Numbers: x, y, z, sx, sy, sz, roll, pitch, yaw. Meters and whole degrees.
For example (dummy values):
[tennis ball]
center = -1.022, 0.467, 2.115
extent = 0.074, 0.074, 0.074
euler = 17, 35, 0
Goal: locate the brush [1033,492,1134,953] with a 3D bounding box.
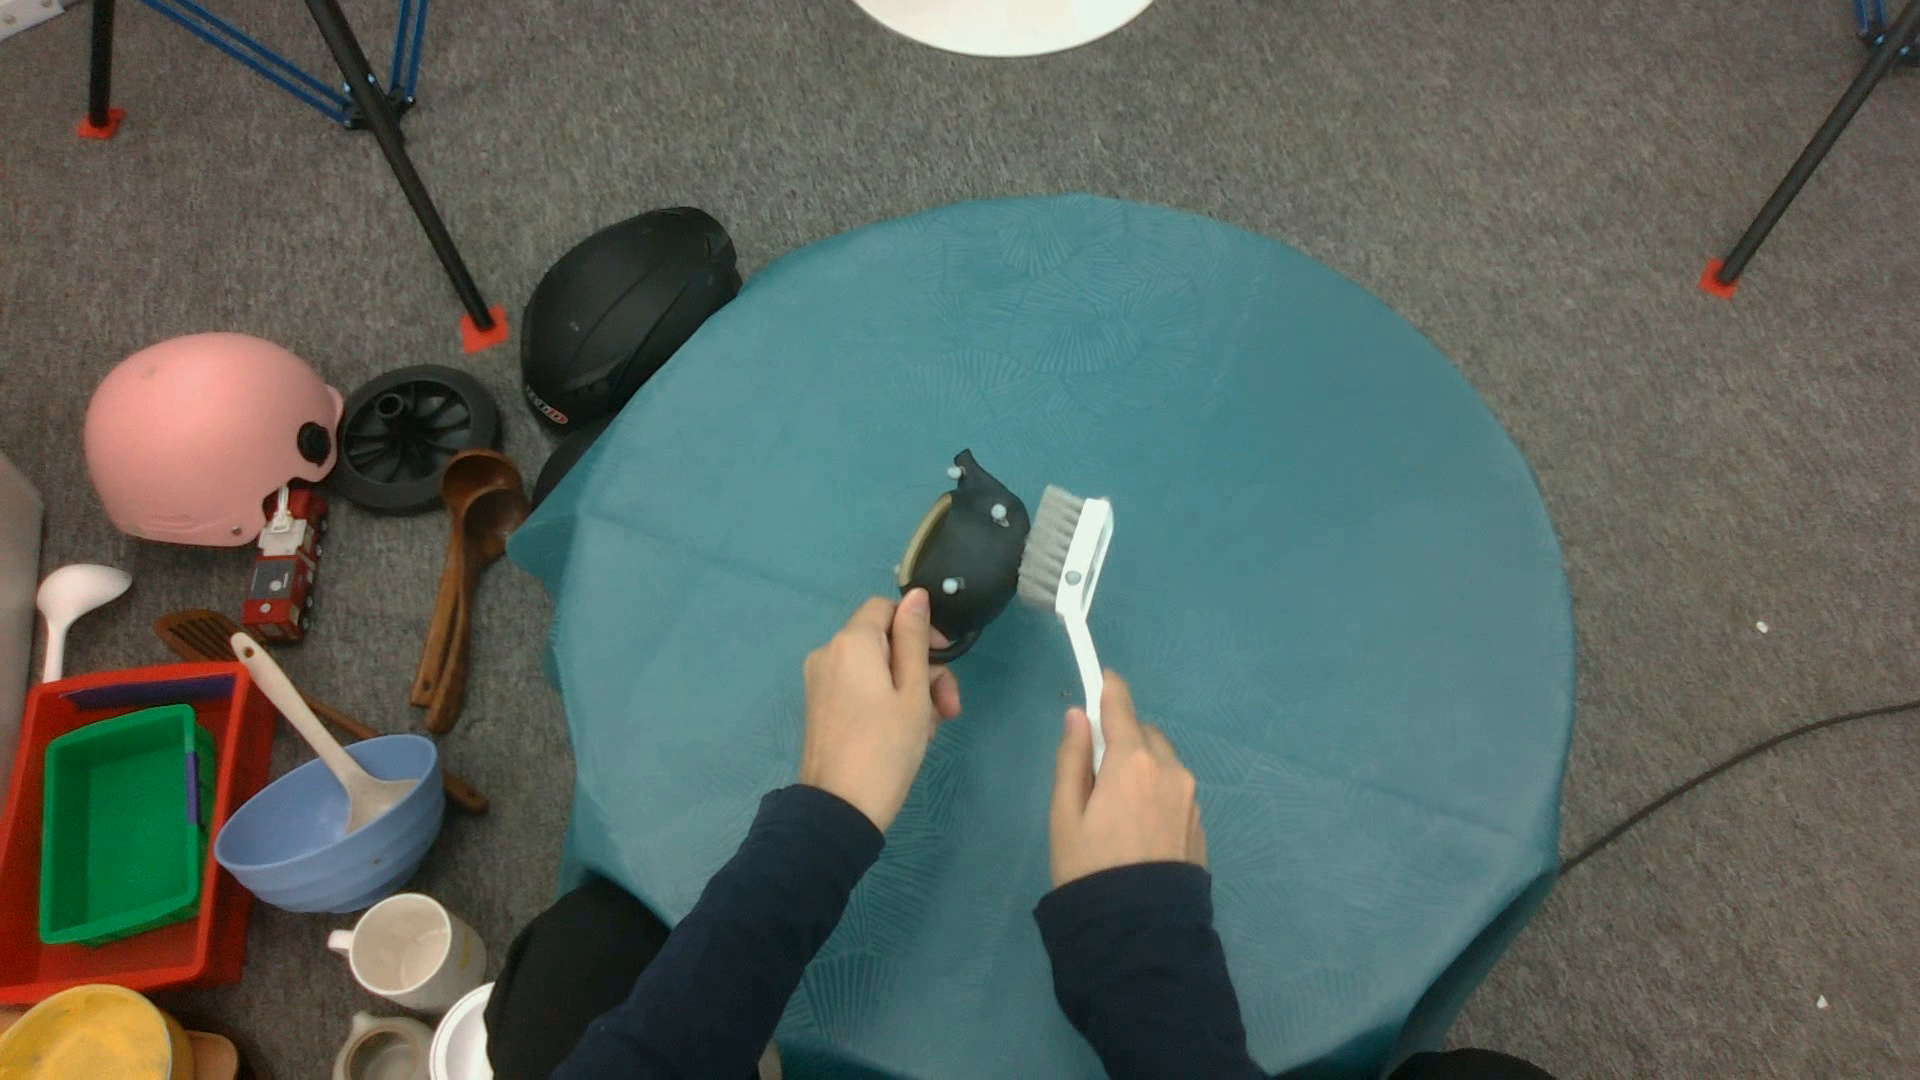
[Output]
[brush]
center = 0.063, 0.087, 0.708
extent = 0.050, 0.034, 0.244
euler = -2, 64, 8

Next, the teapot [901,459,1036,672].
[teapot]
center = 0.006, 0.017, 0.761
extent = 0.053, 0.090, 0.134
euler = 28, 56, -11
